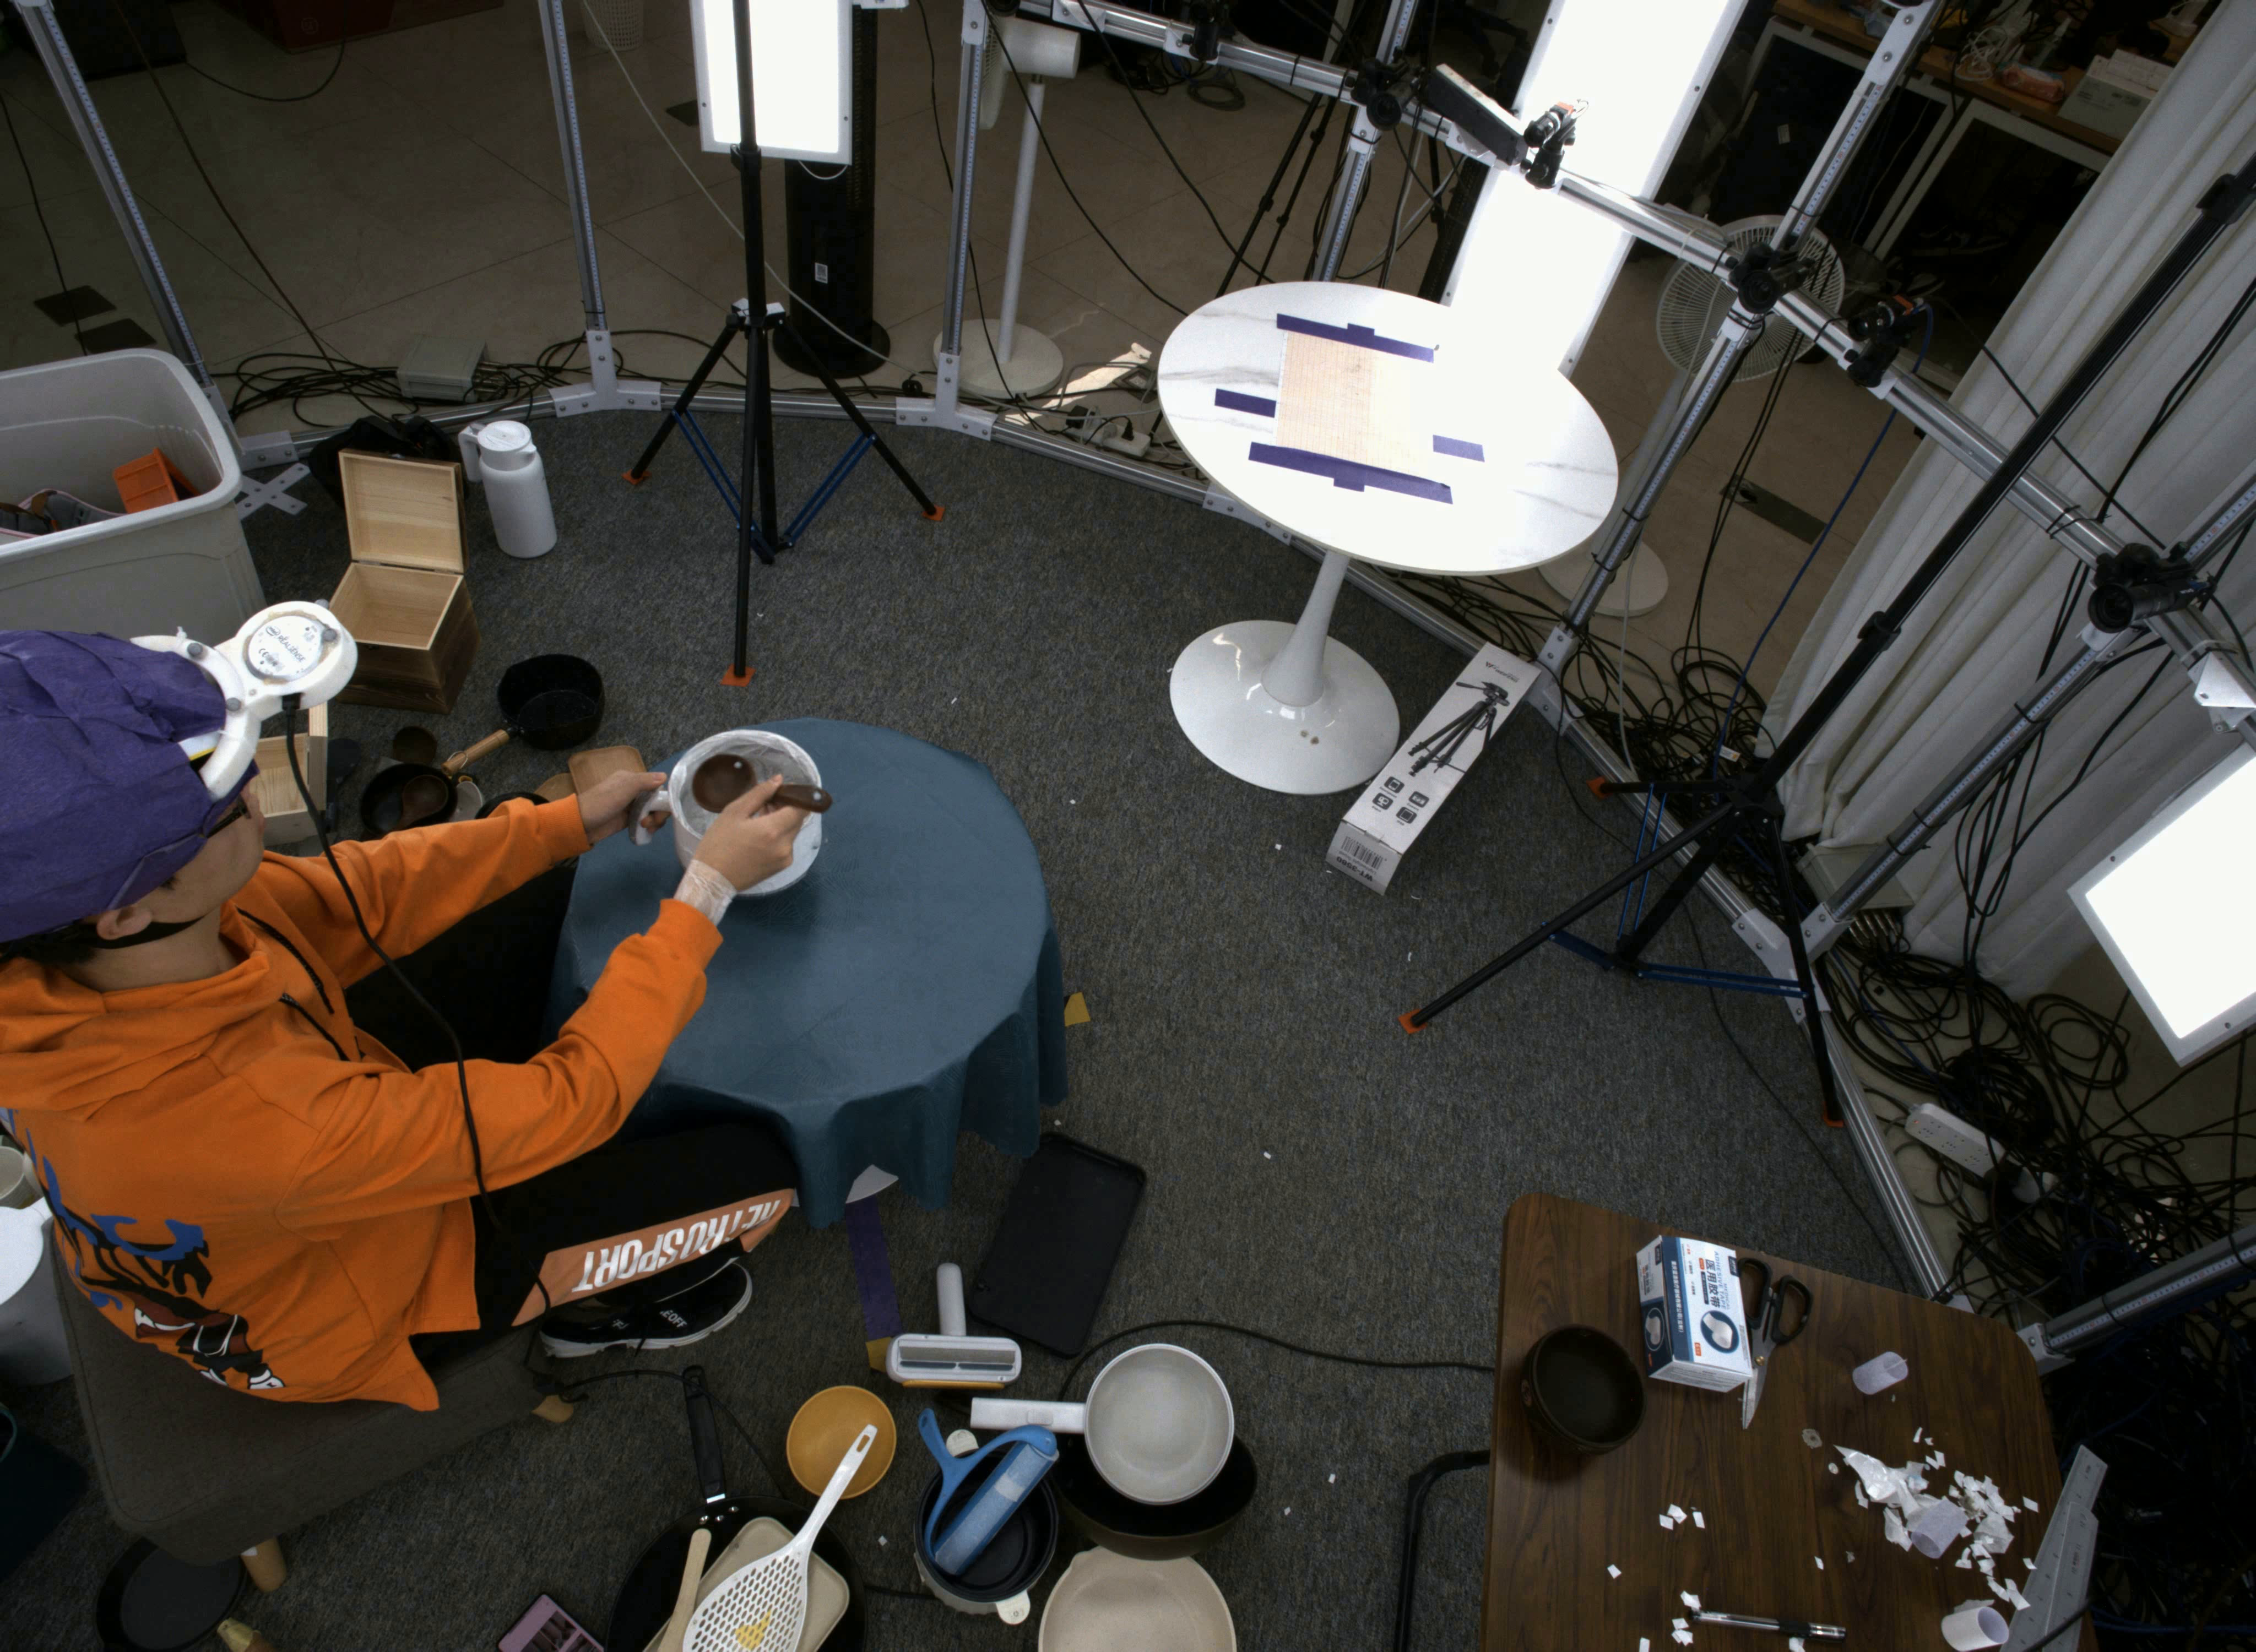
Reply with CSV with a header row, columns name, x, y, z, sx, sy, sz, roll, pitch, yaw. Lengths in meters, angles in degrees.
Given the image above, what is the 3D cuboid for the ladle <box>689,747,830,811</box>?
name,x,y,z,sx,sy,sz,roll,pitch,yaw
ladle,-0.400,-0.049,1.391,0.067,0.252,0.076,38,70,-33

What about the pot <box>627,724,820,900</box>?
name,x,y,z,sx,sy,sz,roll,pitch,yaw
pot,-0.488,-0.013,1.553,0.234,0.139,0.175,1,55,-13
